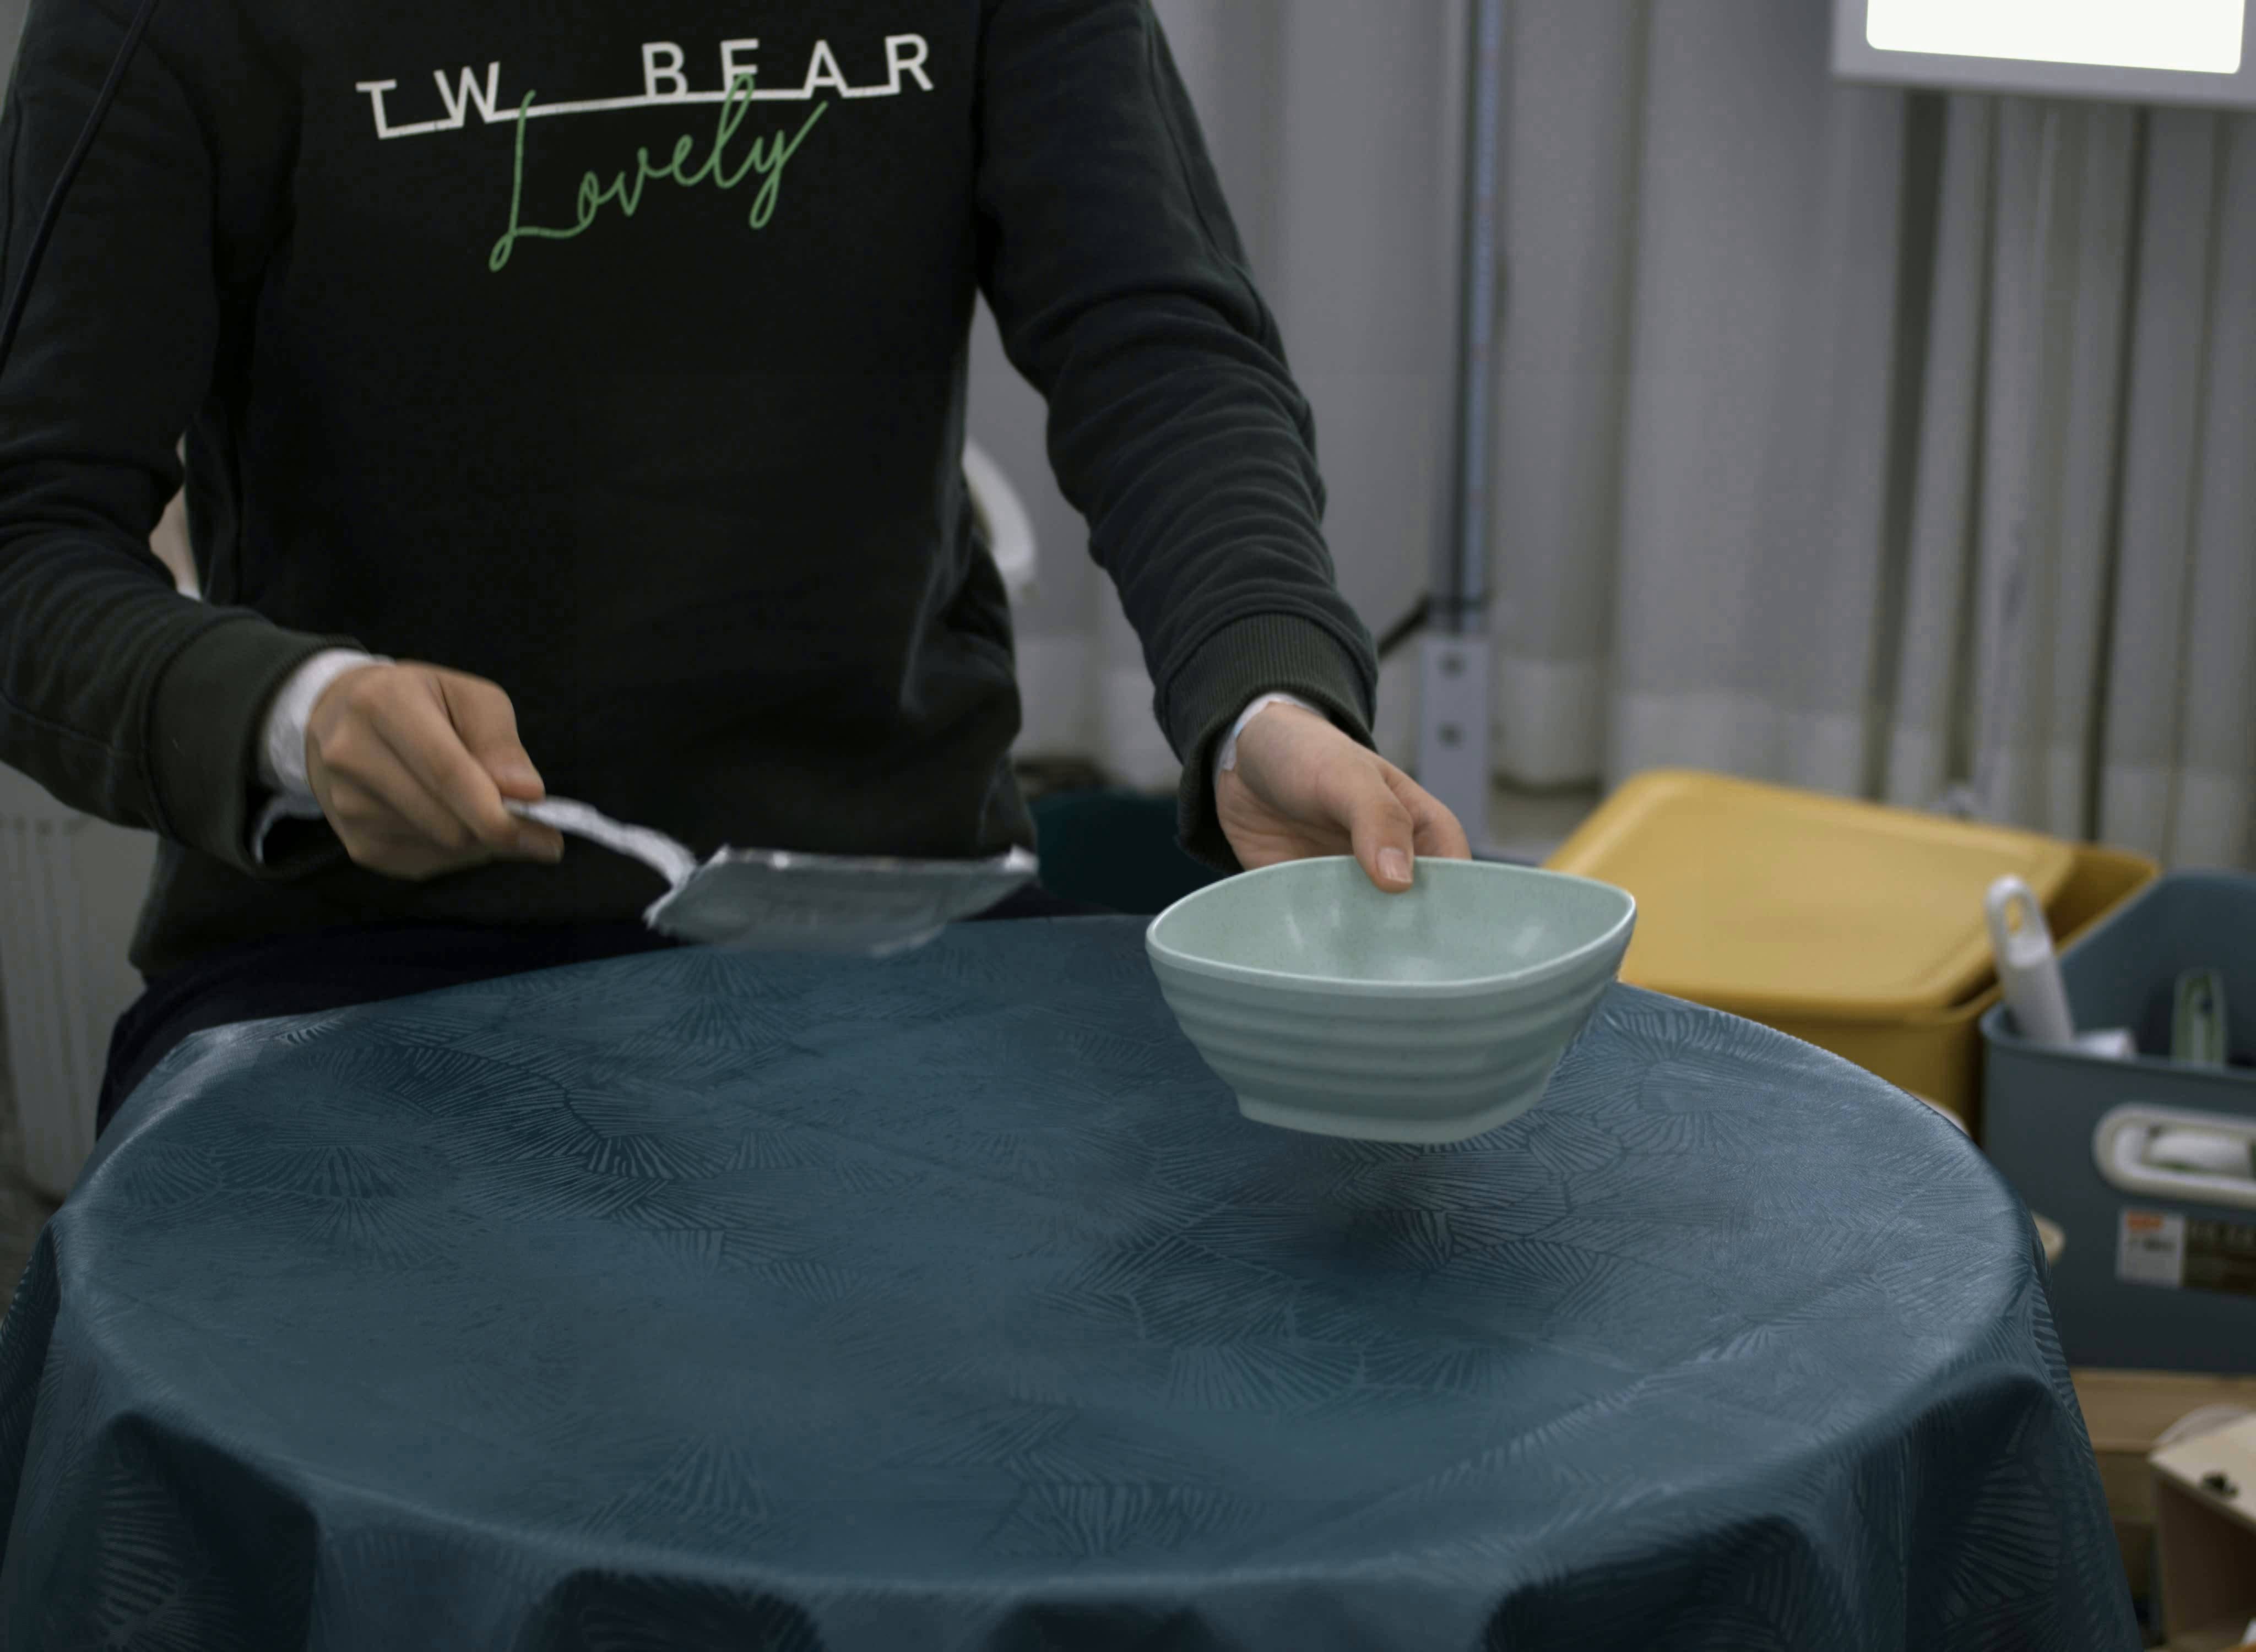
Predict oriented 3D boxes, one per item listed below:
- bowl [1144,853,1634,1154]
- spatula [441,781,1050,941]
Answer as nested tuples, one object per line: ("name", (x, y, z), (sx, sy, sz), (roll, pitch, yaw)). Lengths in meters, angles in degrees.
("bowl", (0.079, 0.056, 1.586), (0.151, 0.059, 0.150), (0, 16, 1))
("spatula", (-0.138, -0.002, 1.545), (0.099, 0.045, 0.361), (-1, 9, -27))
